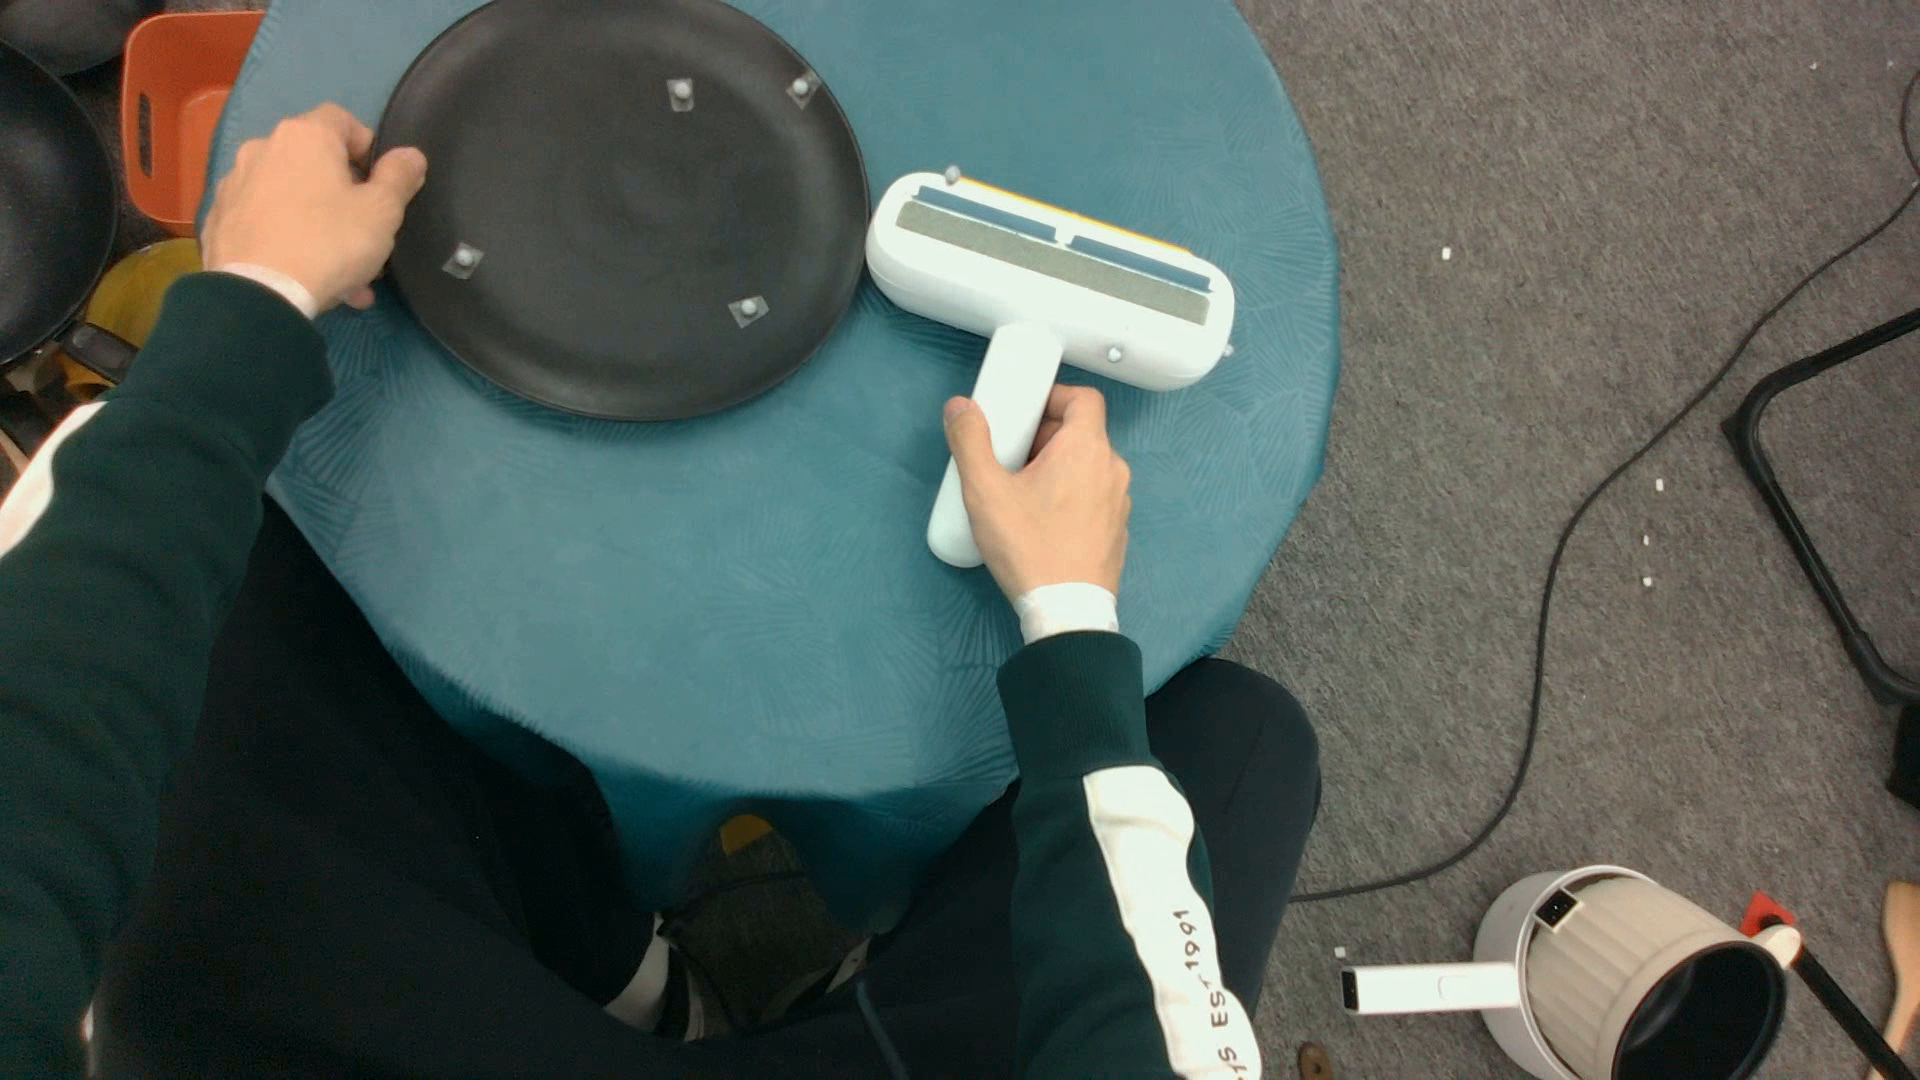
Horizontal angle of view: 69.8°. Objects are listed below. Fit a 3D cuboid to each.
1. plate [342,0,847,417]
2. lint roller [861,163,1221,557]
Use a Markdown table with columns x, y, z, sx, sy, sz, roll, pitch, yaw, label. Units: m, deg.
| x | y | z | sx | sy | sz | roll | pitch | yaw | label |
| --- | --- | --- | --- | --- | --- | --- | --- | --- | --- |
| -0.179 | -0.174 | 0.698 | 0.244 | 0.023 | 0.245 | 4 | 75 | -14 | plate |
| 0.017 | -0.082 | 0.721 | 0.193 | 0.074 | 0.192 | 24 | 85 | 0 | lint roller |
